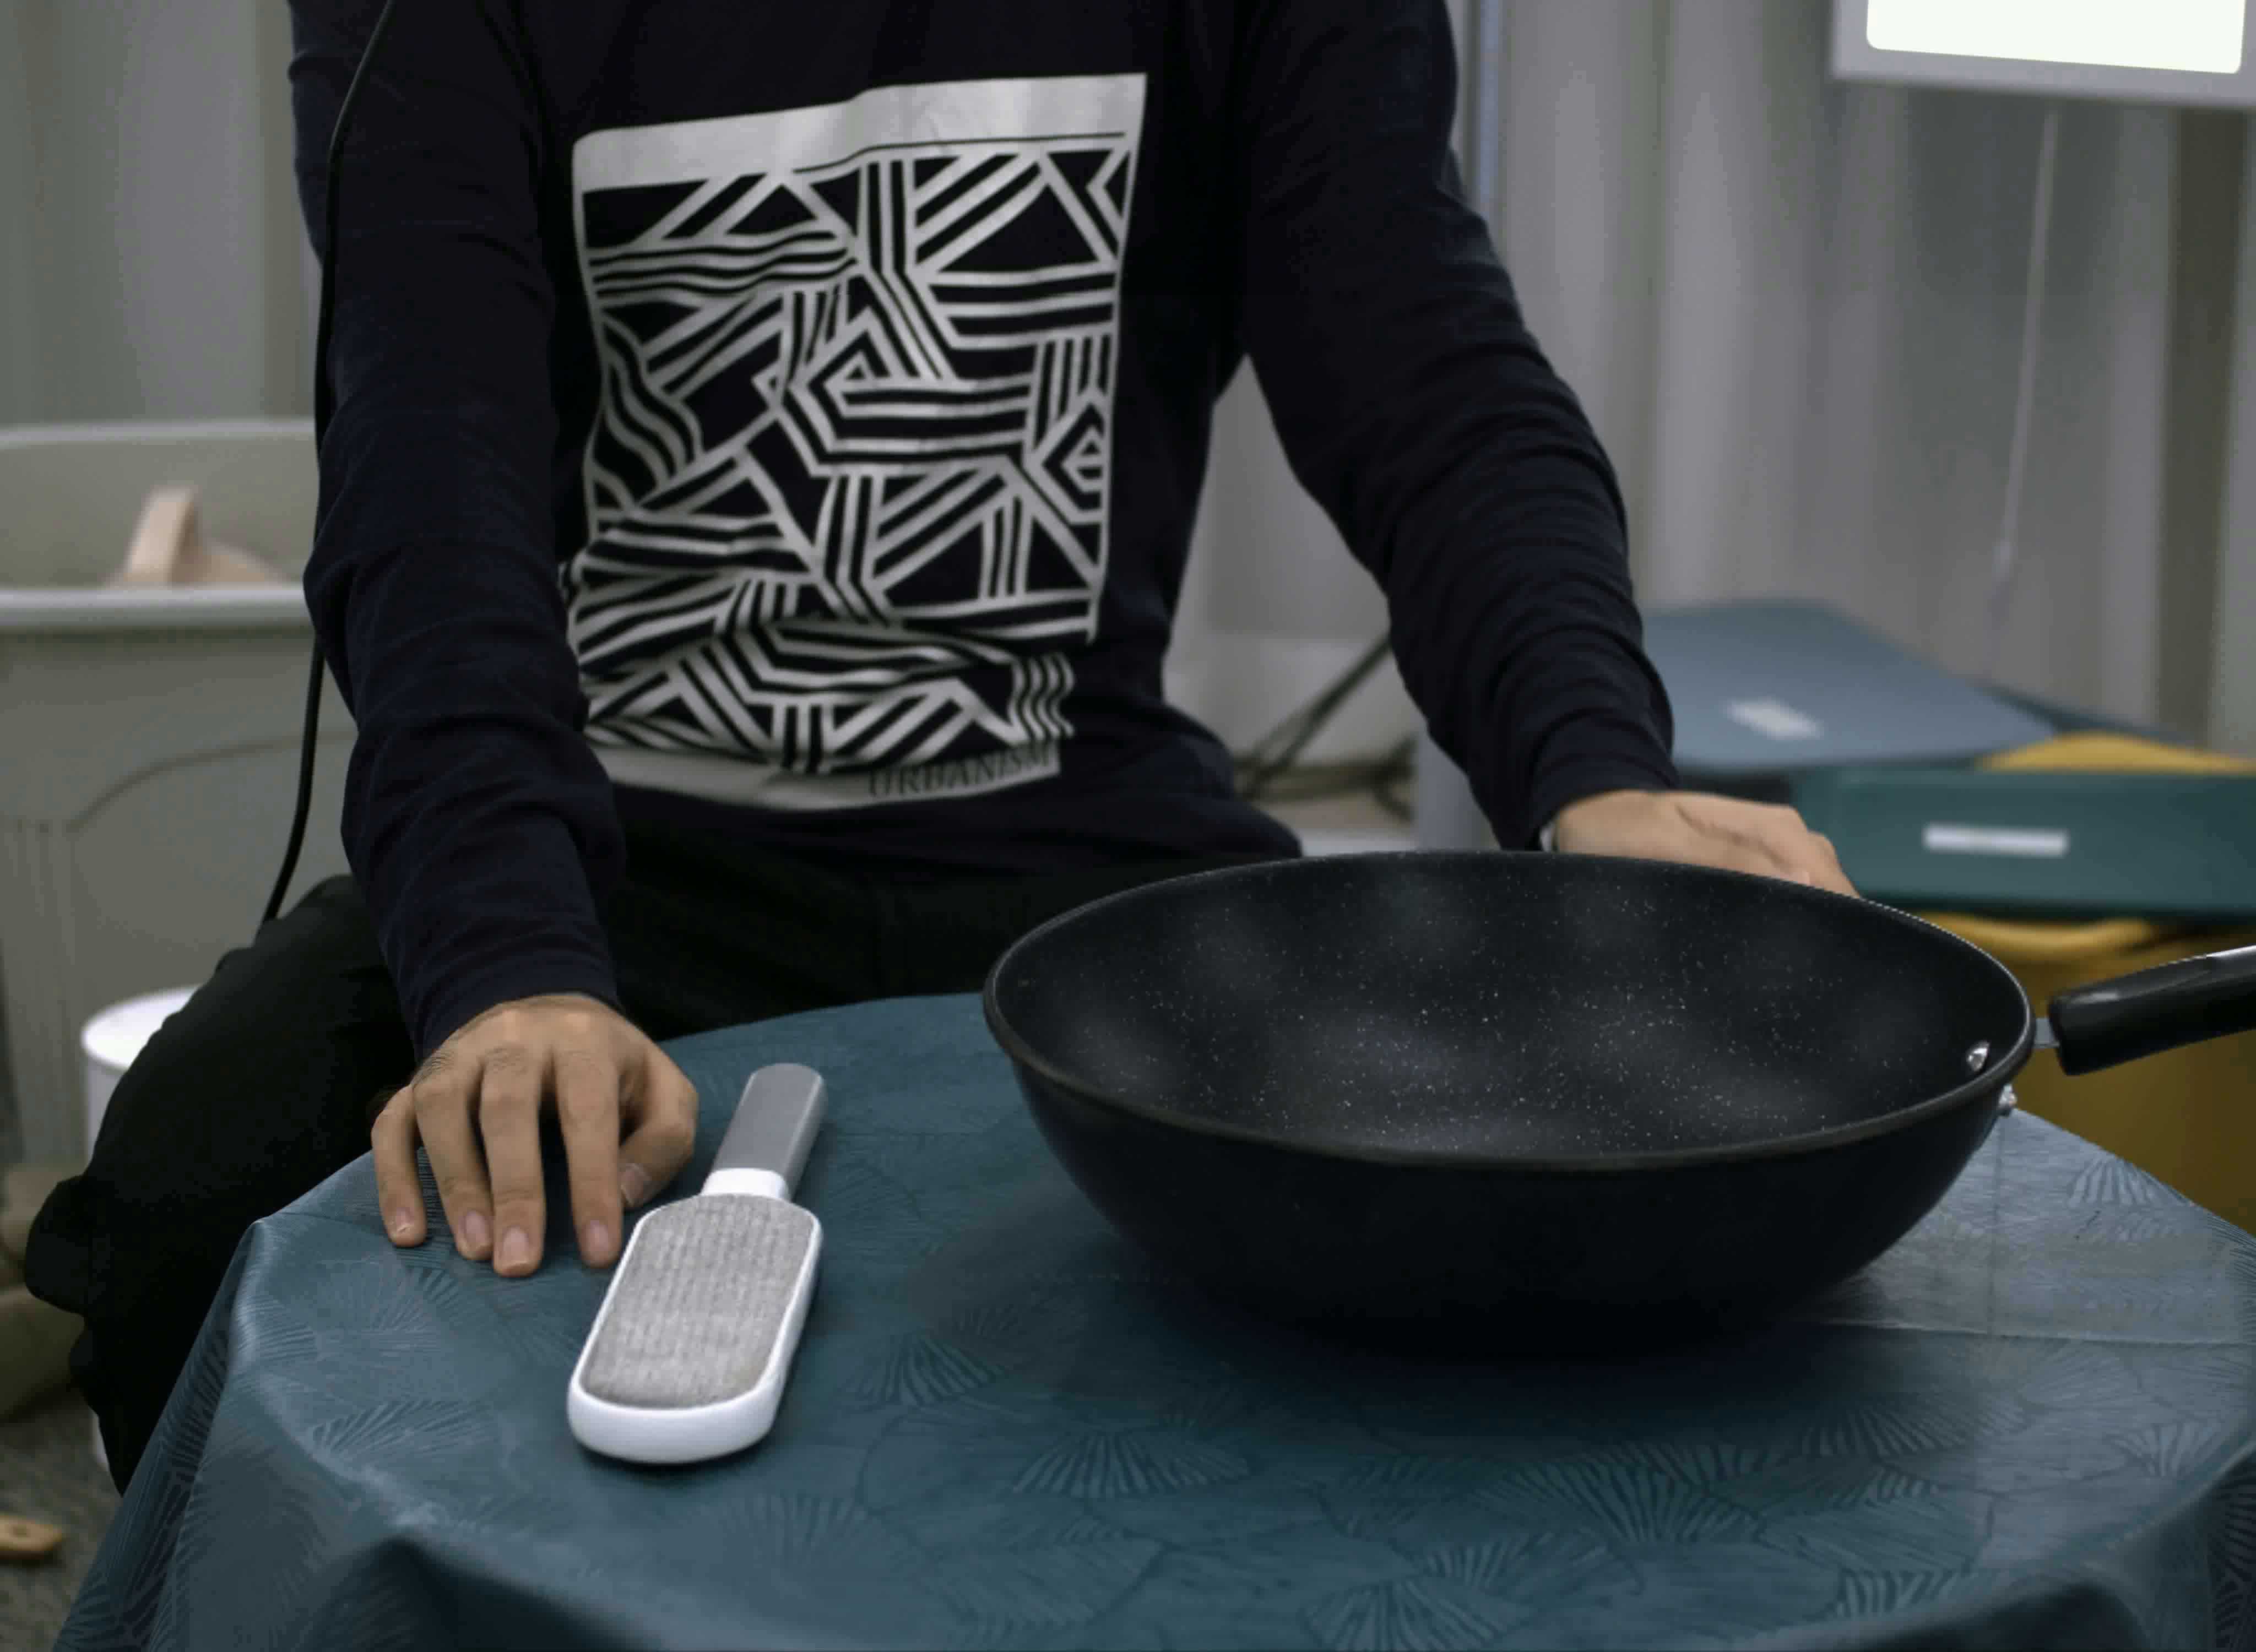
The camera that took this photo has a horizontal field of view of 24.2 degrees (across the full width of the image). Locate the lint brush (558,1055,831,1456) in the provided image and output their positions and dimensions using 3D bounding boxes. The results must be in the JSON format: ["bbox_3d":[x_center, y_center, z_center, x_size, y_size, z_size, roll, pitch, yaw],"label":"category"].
[{"bbox_3d":[-0.117,0.121,1.540,0.060,0.021,0.307,-4,15,5],"label":"lint brush"}]

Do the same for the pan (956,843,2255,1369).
[{"bbox_3d":[0.187,0.078,1.551,0.475,0.112,0.308,1,17,0],"label":"pan"}]
